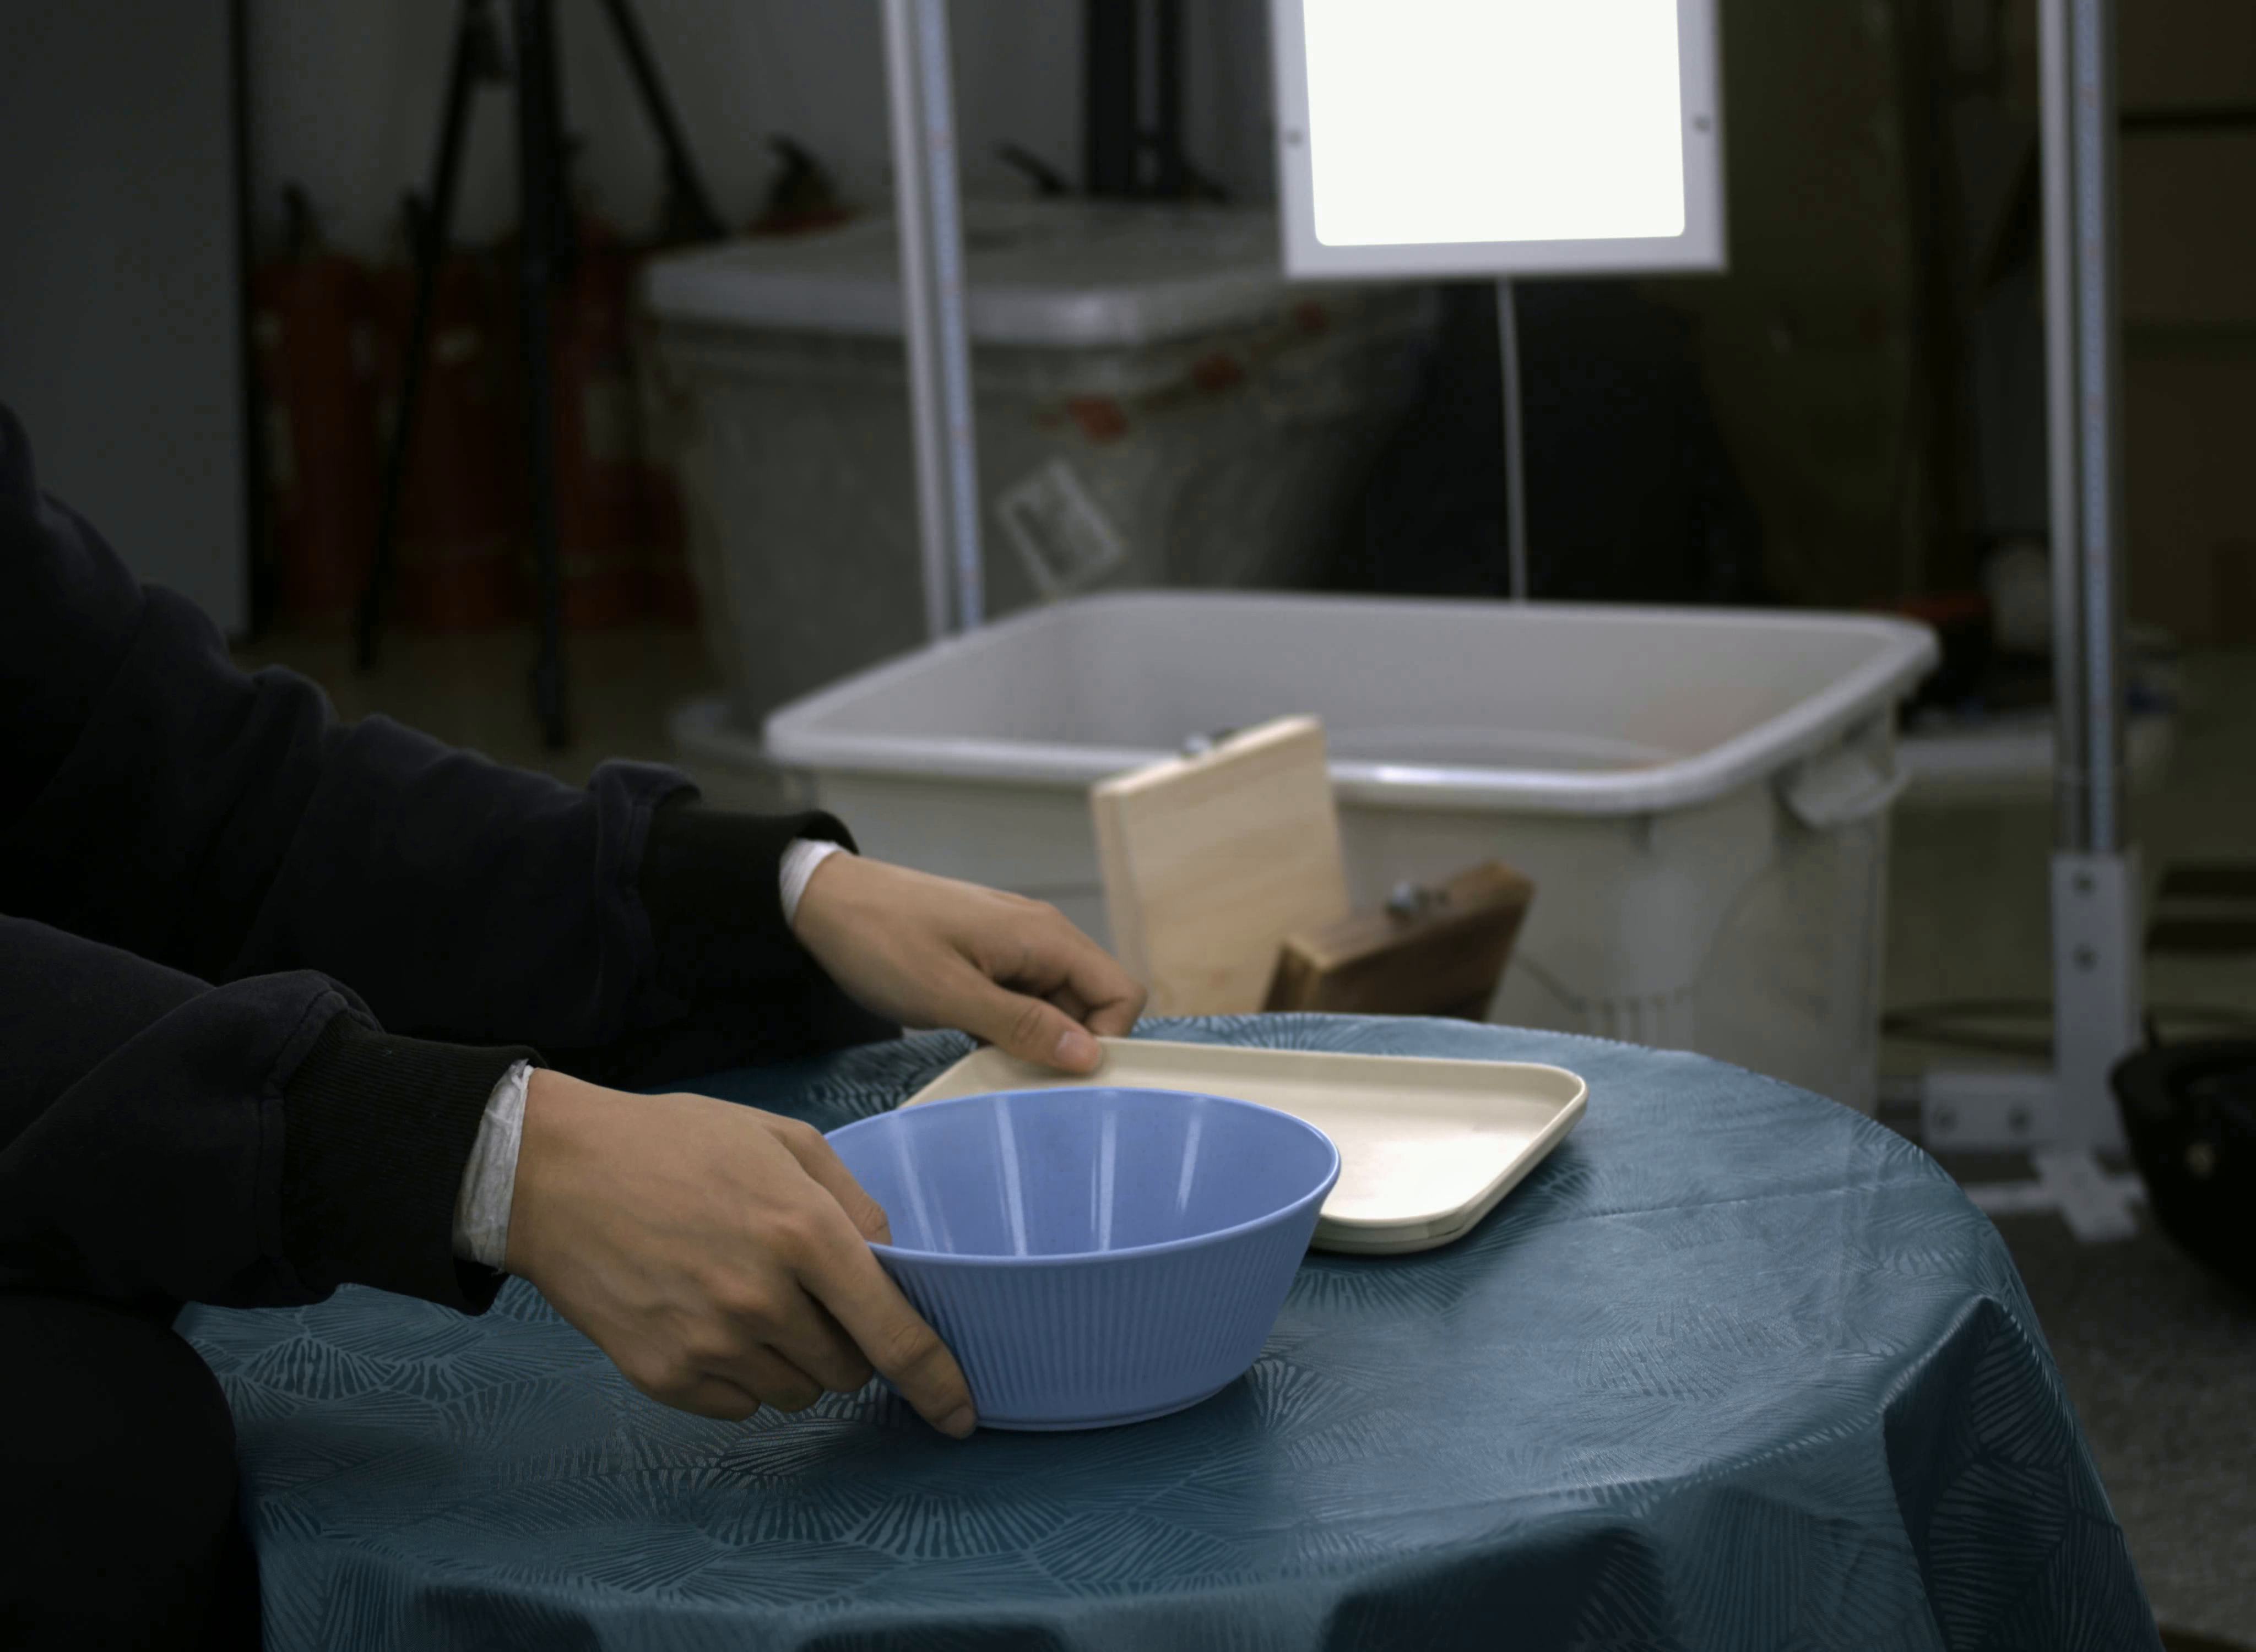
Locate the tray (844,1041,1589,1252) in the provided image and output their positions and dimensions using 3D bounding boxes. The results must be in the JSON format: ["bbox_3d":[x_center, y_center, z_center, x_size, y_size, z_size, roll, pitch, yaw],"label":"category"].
[{"bbox_3d":[0.030,0.111,1.908,0.243,0.017,0.168,2,16,25],"label":"tray"}]

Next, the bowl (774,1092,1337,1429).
[{"bbox_3d":[-0.021,0.137,1.708,0.175,0.070,0.176,-3,13,-1],"label":"bowl"}]
